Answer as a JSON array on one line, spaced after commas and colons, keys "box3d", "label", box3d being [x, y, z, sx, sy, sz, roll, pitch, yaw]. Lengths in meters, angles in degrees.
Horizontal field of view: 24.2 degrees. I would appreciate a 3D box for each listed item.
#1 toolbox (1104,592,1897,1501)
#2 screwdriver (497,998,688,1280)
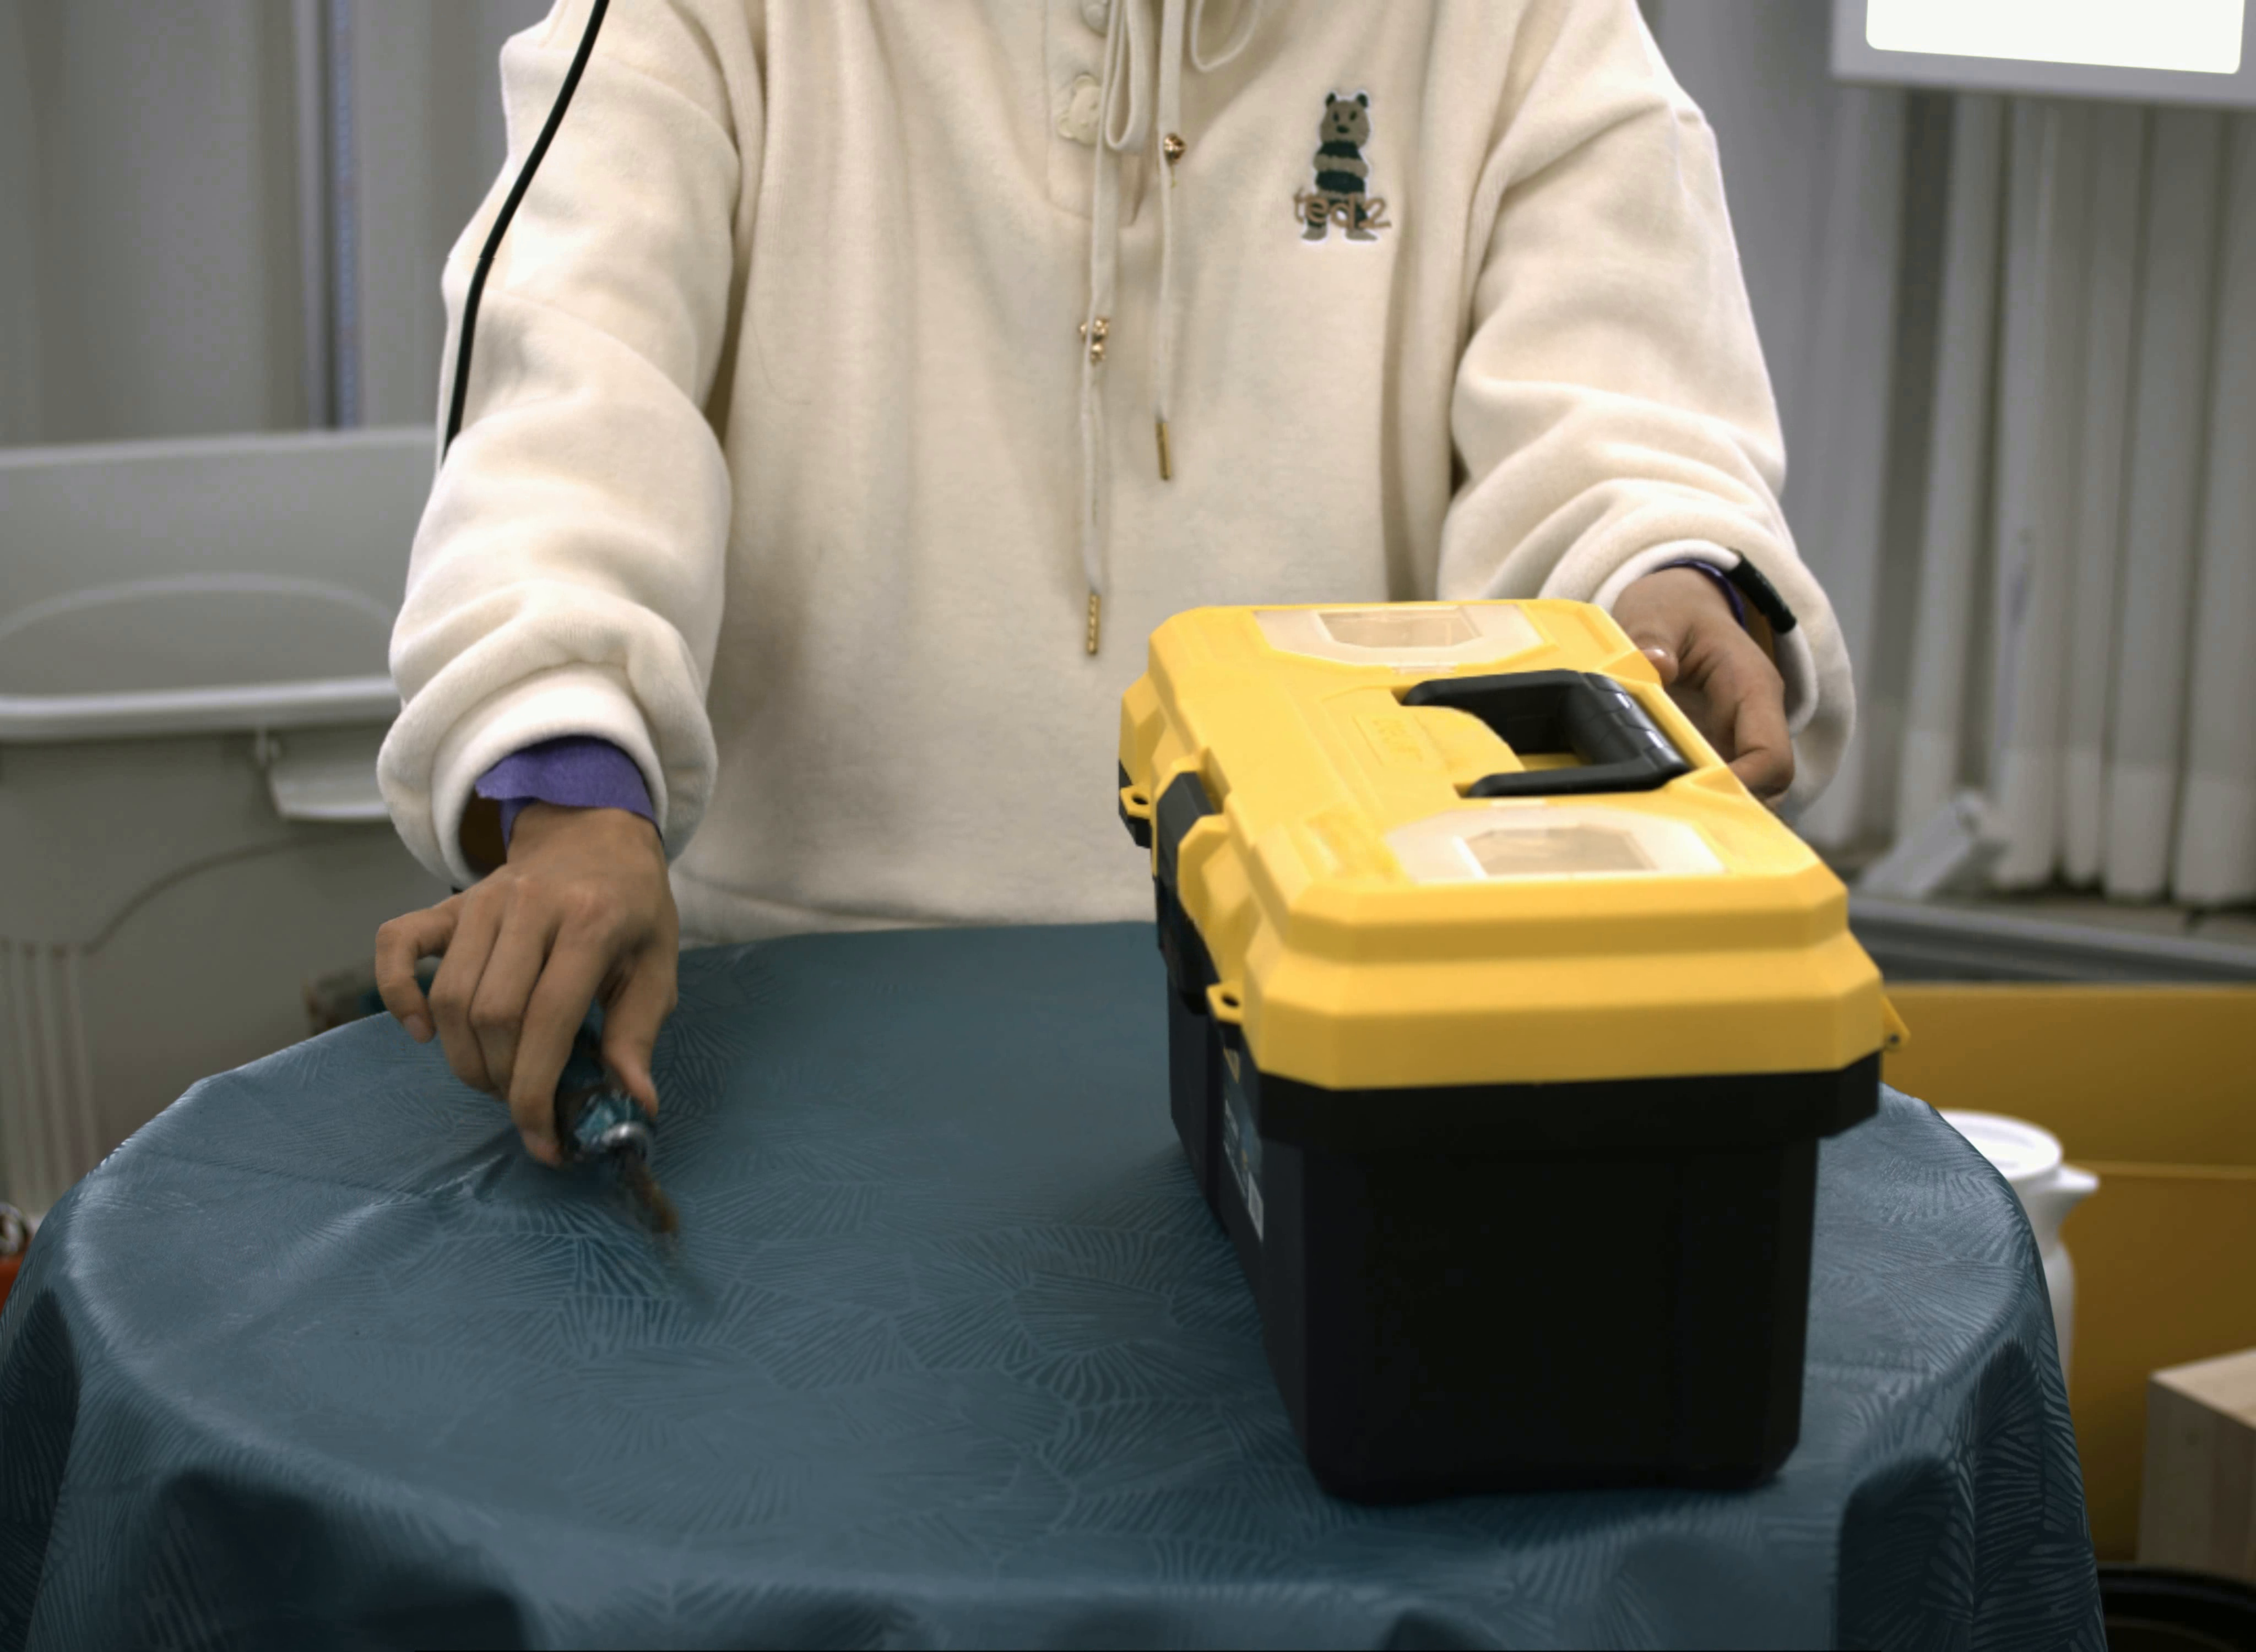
[{"box3d": [0.097, 0.053, 1.510, 0.181, 0.174, 0.349, -1, 16, -6], "label": "toolbox"}, {"box3d": [-0.159, 0.097, 1.596, 0.034, 0.034, 0.188, -5, 22, -19], "label": "screwdriver"}]
